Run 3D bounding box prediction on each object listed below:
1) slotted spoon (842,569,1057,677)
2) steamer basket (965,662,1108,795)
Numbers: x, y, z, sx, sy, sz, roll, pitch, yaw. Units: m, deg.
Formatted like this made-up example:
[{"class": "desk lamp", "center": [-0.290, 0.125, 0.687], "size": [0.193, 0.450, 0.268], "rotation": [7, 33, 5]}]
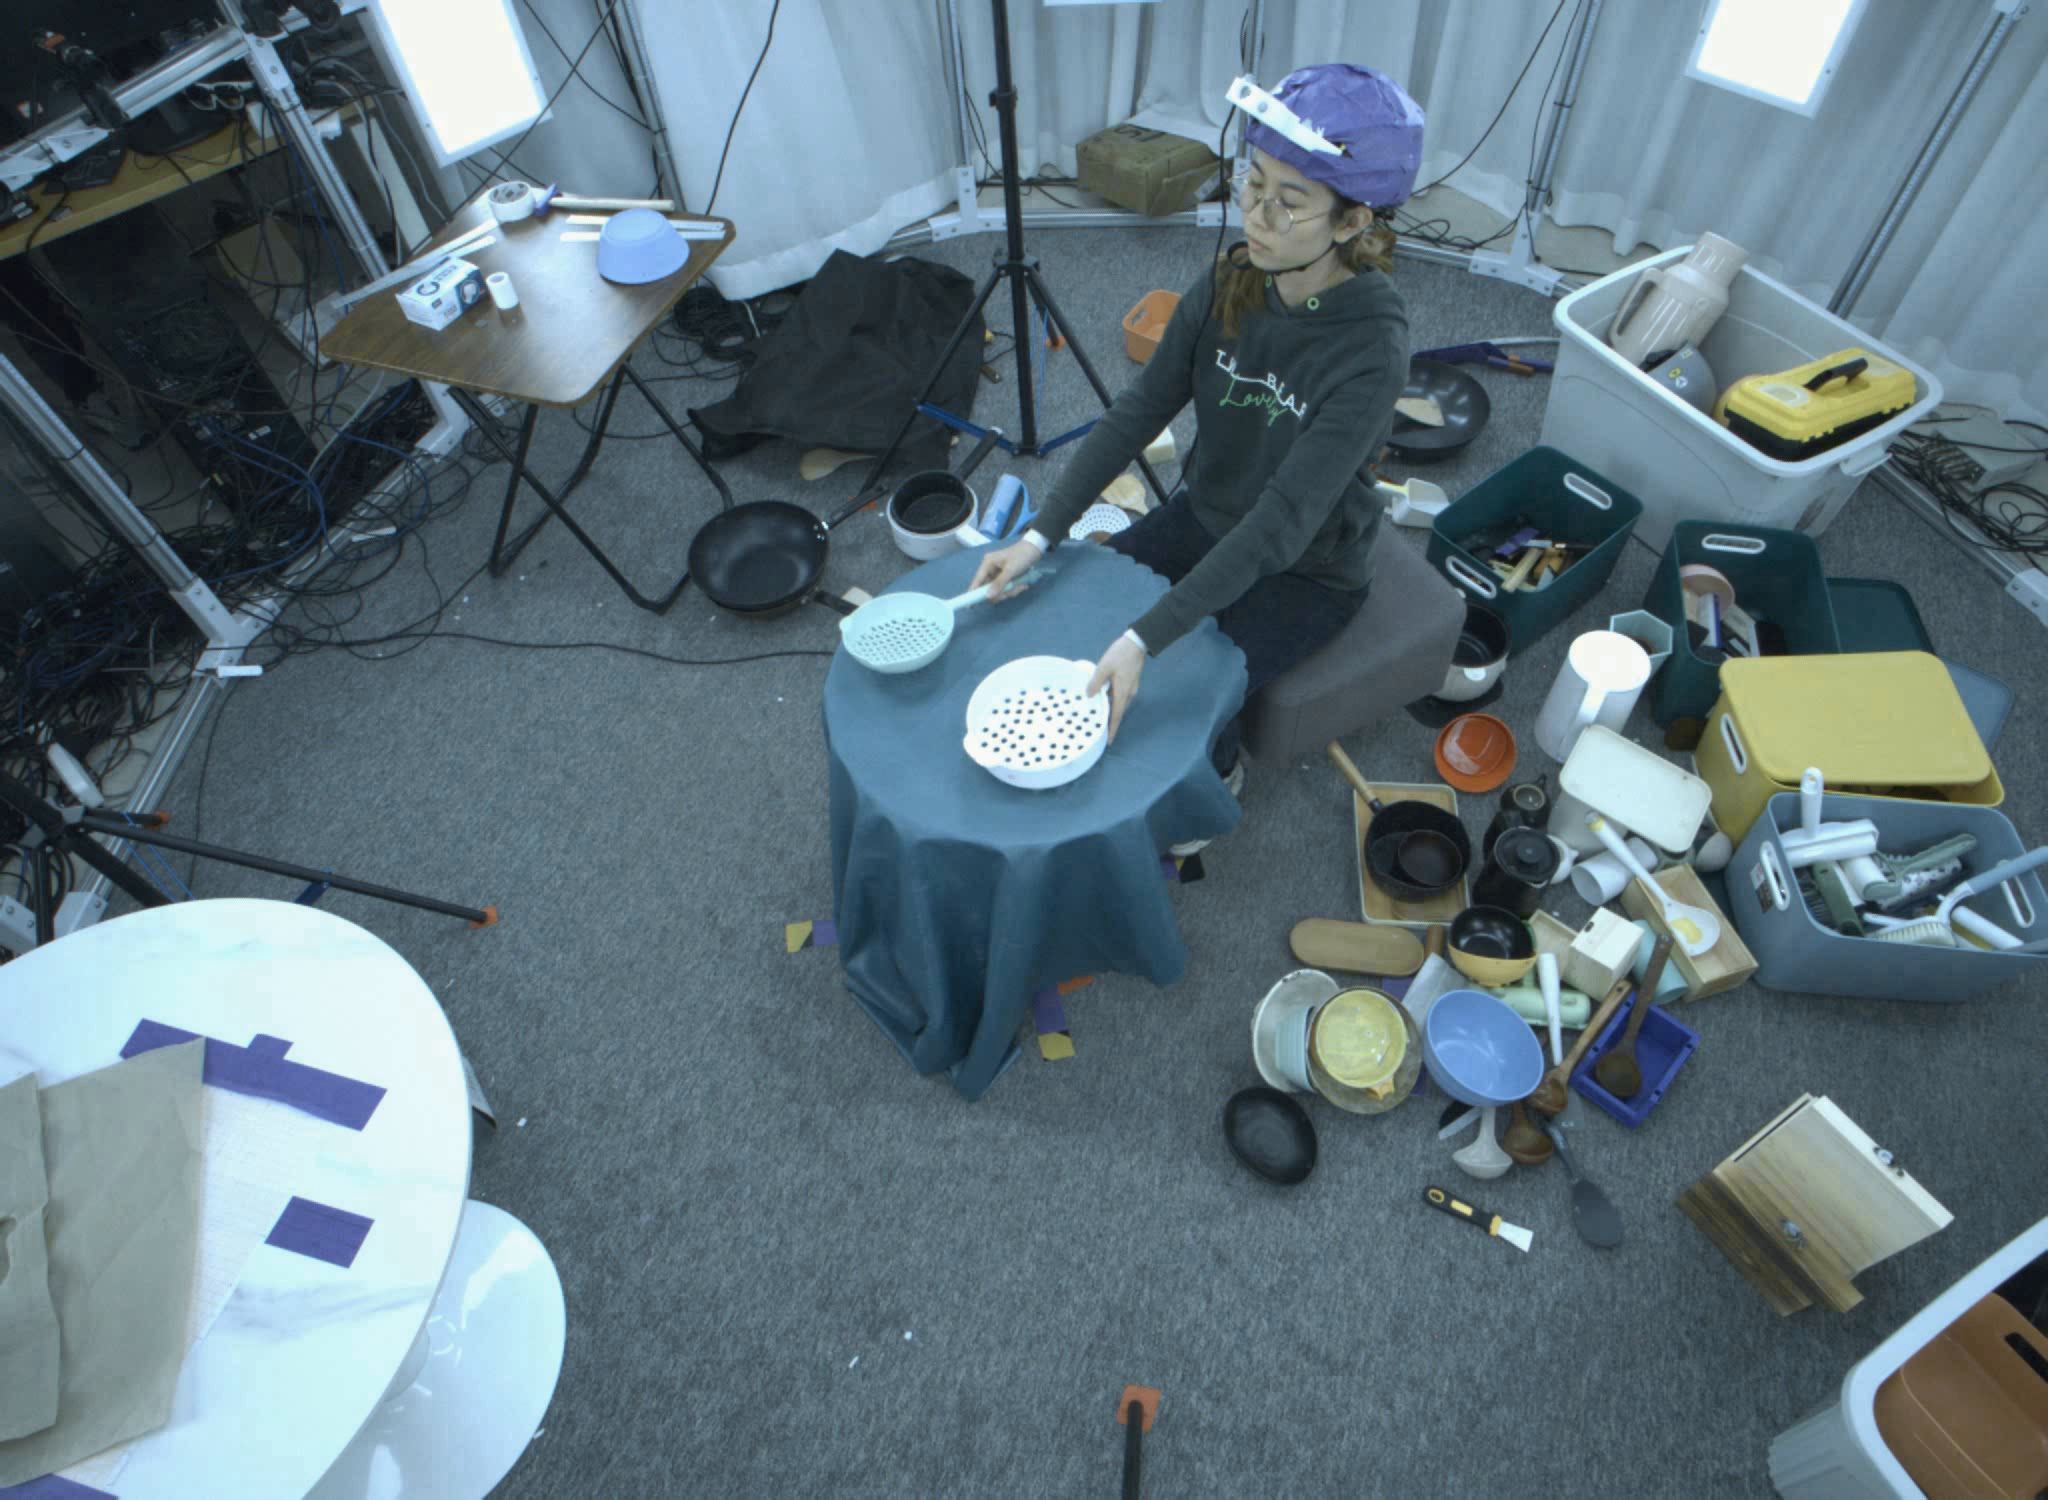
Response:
[{"class": "slotted spoon", "center": [-0.105, -0.214, 1.900], "size": [0.361, 0.076, 0.165], "rotation": [-32, 51, -15]}, {"class": "steamer basket", "center": [0.021, -0.029, 1.768], "size": [0.232, 0.070, 0.198], "rotation": [-35, 60, -17]}]
